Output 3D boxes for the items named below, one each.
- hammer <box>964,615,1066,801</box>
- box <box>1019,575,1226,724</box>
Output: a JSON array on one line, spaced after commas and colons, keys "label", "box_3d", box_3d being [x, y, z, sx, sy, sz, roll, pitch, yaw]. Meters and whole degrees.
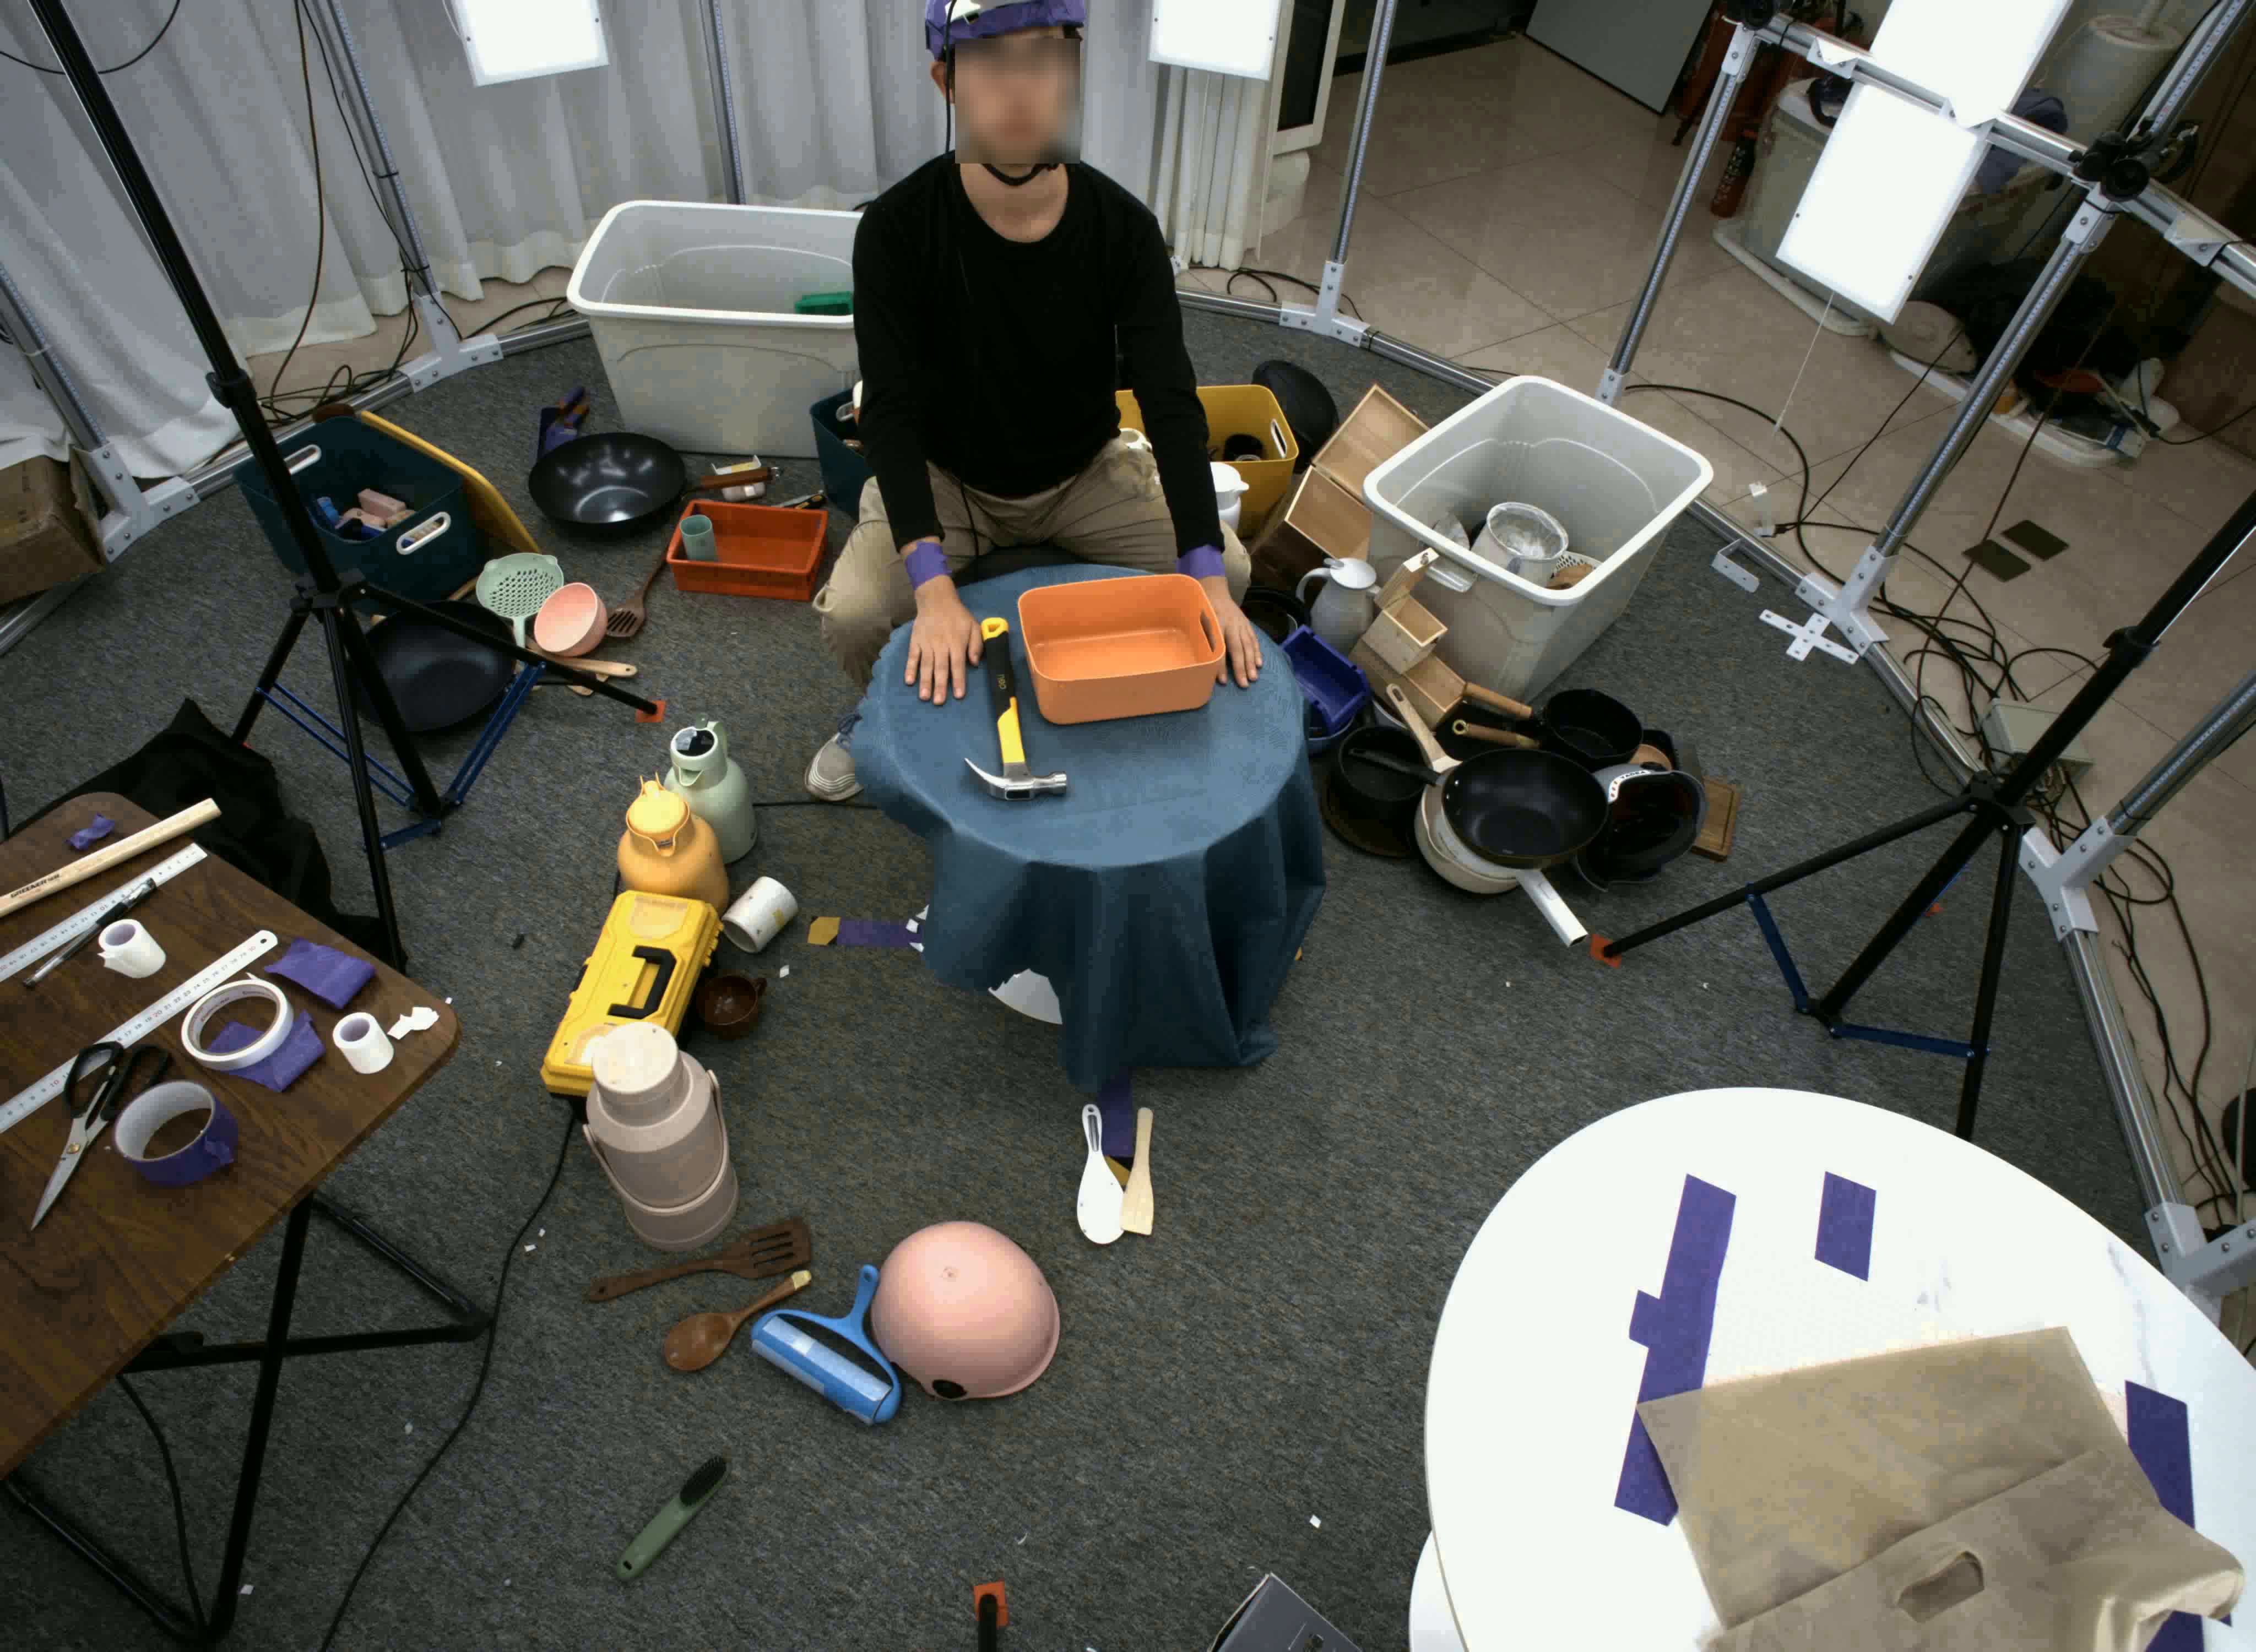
[{"label": "hammer", "box_3d": [-0.169, -0.172, 1.785, 0.131, 0.031, 0.347, -4, 50, -7]}, {"label": "box", "box_3d": [-0.013, -0.248, 1.817, 0.273, 0.100, 0.204, -8, 50, -11]}]
